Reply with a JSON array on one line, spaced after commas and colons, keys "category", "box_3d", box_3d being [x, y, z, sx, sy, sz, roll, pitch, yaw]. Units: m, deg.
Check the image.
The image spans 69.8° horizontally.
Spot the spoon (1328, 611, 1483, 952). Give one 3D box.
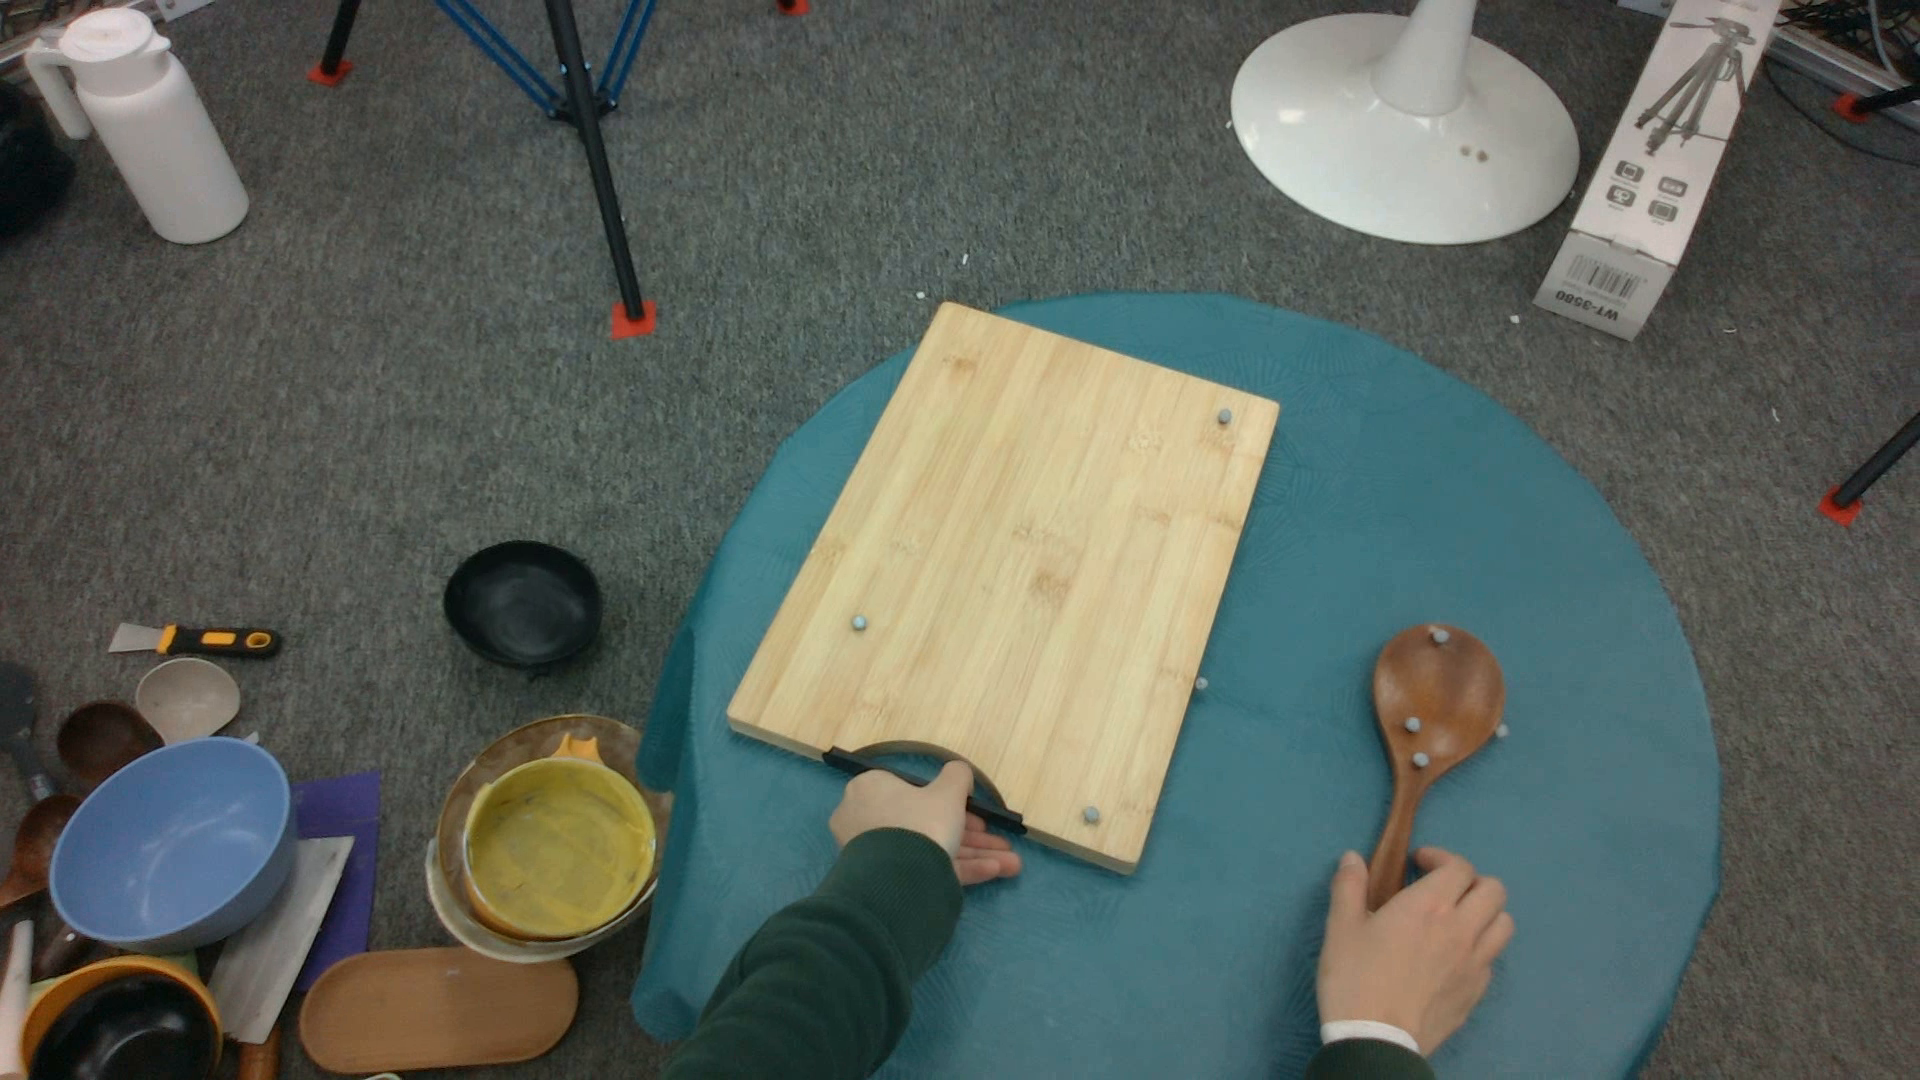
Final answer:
[{"category": "spoon", "box_3d": [0.241, 0.129, 0.767, 0.075, 0.017, 0.217, 22, 56, 9]}]

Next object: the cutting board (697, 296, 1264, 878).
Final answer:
[{"category": "cutting board", "box_3d": [0.028, 0.007, 0.836, 0.250, 0.023, 0.350, 17, 56, 8]}]
